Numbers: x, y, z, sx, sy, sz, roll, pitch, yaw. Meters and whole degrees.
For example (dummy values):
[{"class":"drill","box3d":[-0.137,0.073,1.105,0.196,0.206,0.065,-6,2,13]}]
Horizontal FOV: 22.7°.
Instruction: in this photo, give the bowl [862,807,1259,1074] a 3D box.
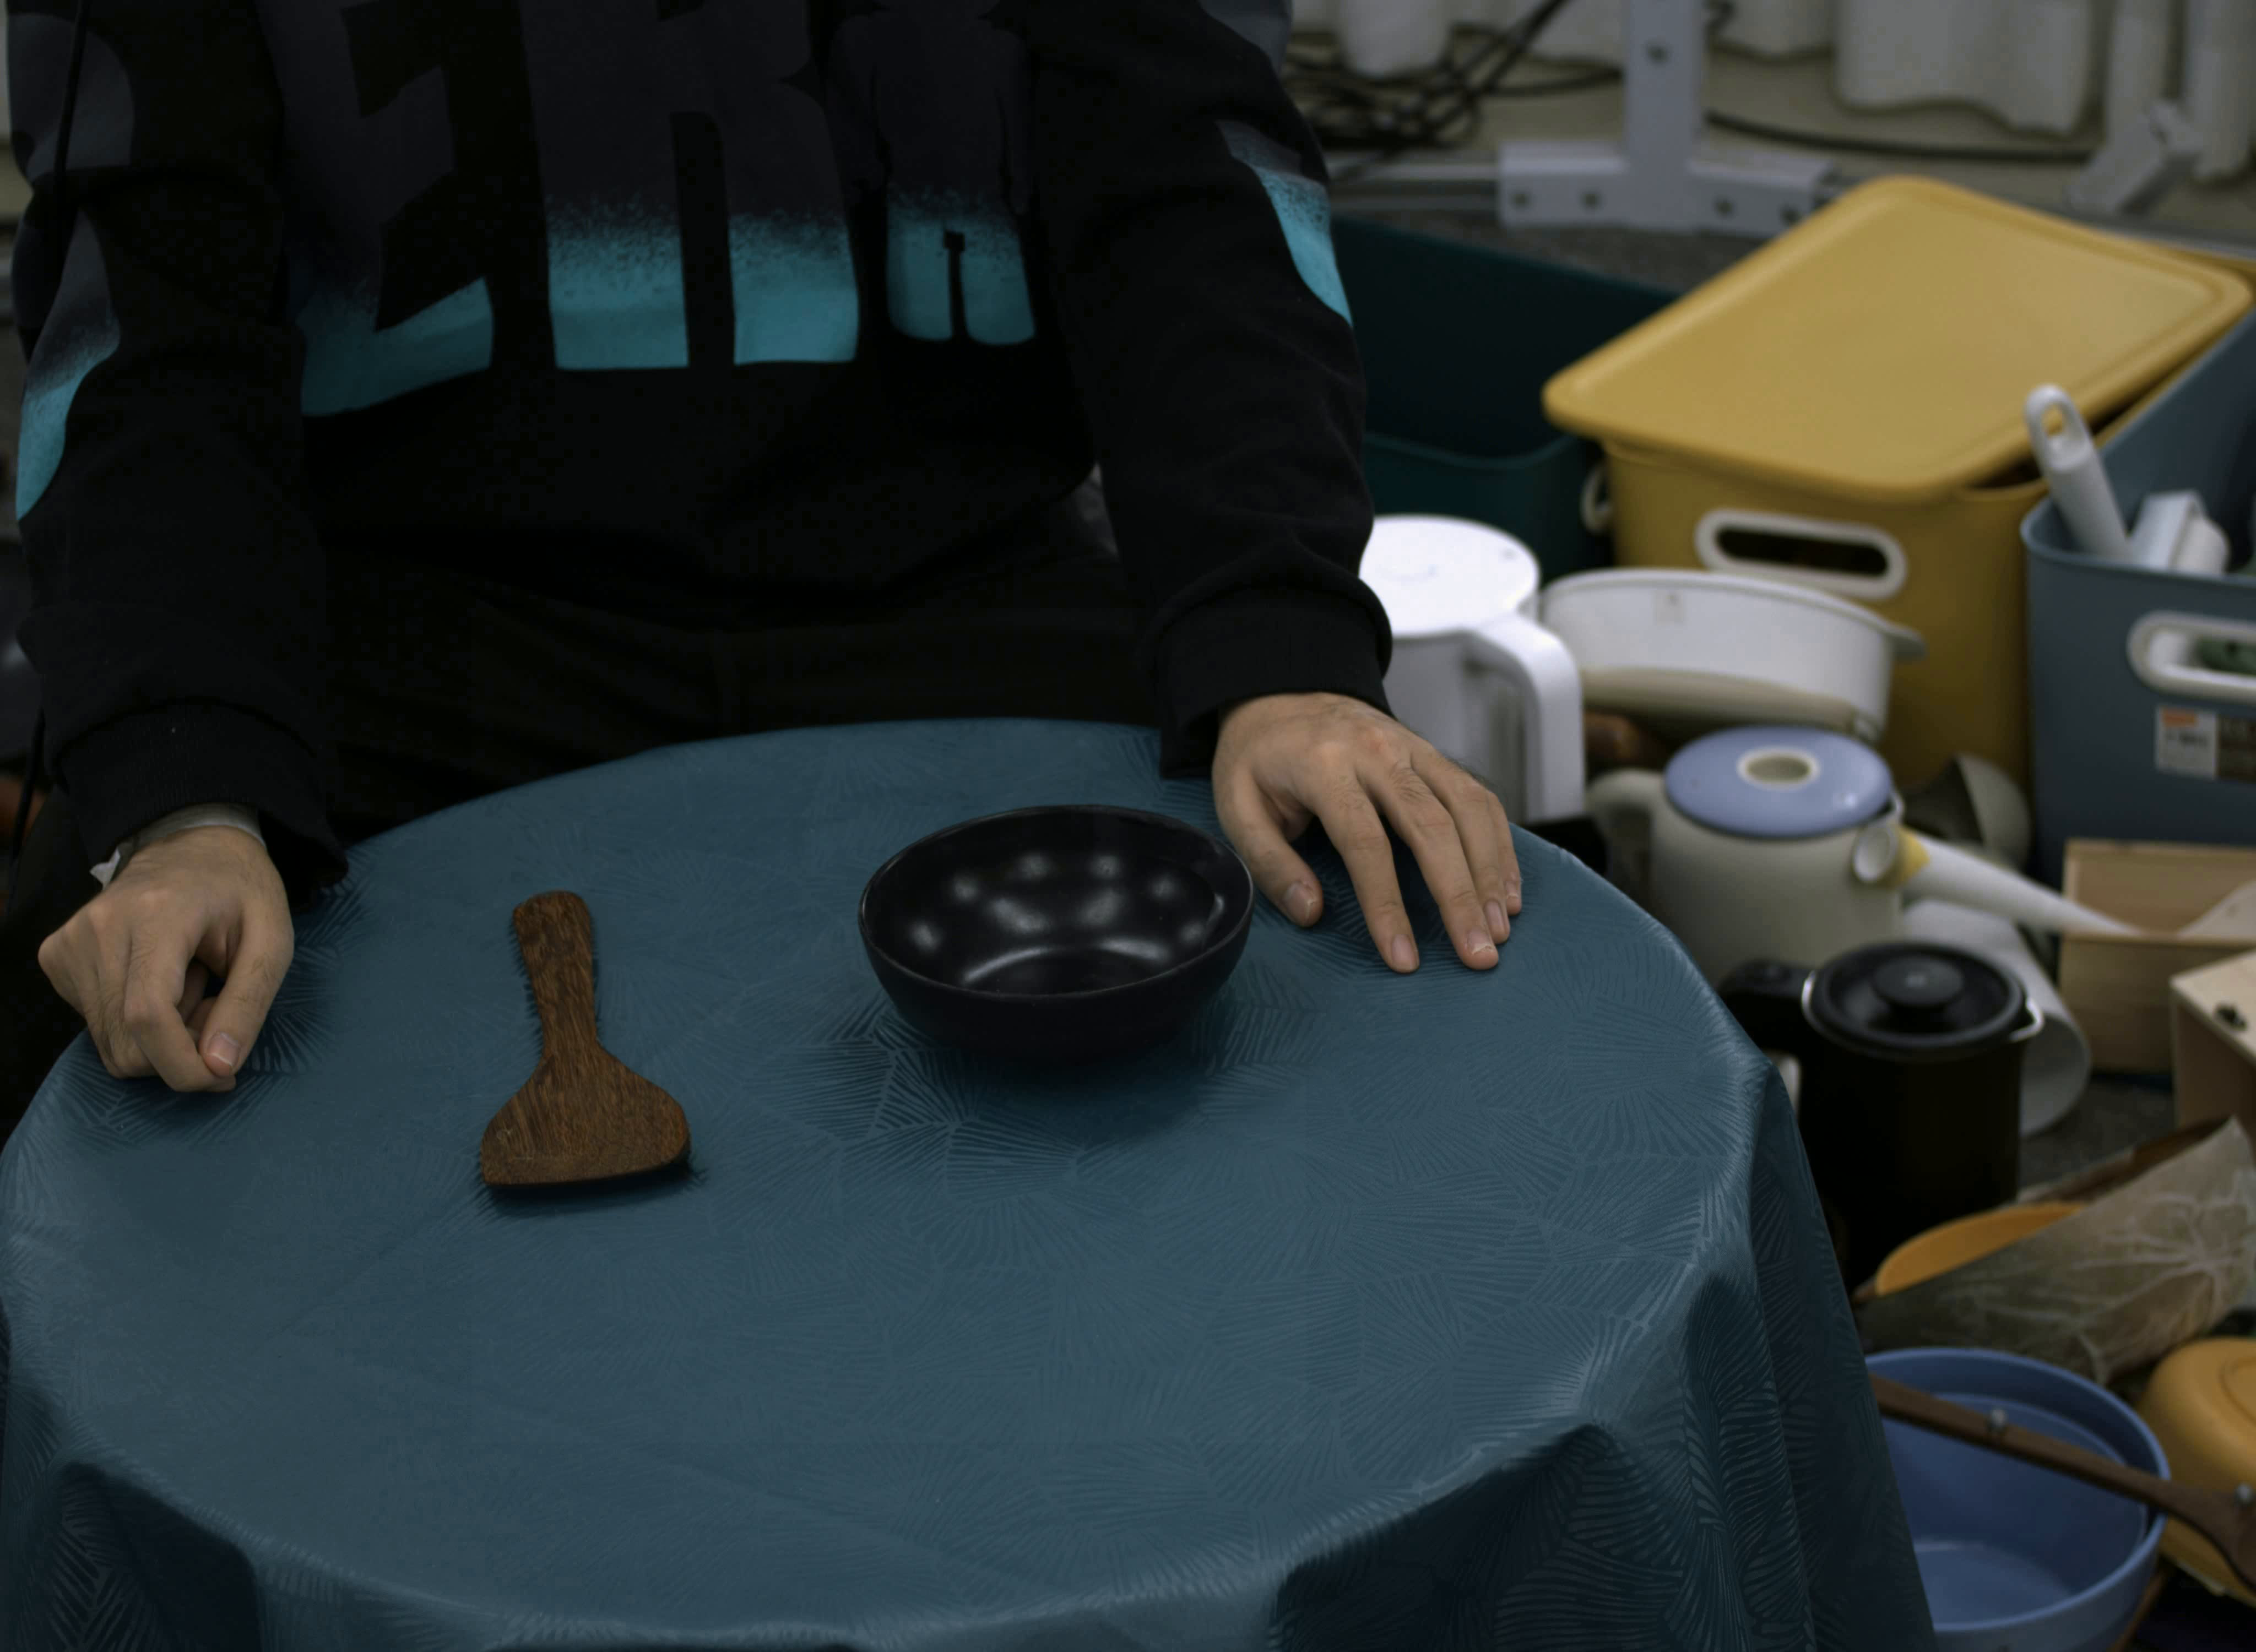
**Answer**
[{"class":"bowl","box3d":[-0.021,0.048,1.956,0.139,0.049,0.142,-5,27,3]}]

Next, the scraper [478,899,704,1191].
[{"class":"scraper","box3d":[-0.194,0.076,1.961,0.075,0.011,0.214,-6,27,-7]}]
